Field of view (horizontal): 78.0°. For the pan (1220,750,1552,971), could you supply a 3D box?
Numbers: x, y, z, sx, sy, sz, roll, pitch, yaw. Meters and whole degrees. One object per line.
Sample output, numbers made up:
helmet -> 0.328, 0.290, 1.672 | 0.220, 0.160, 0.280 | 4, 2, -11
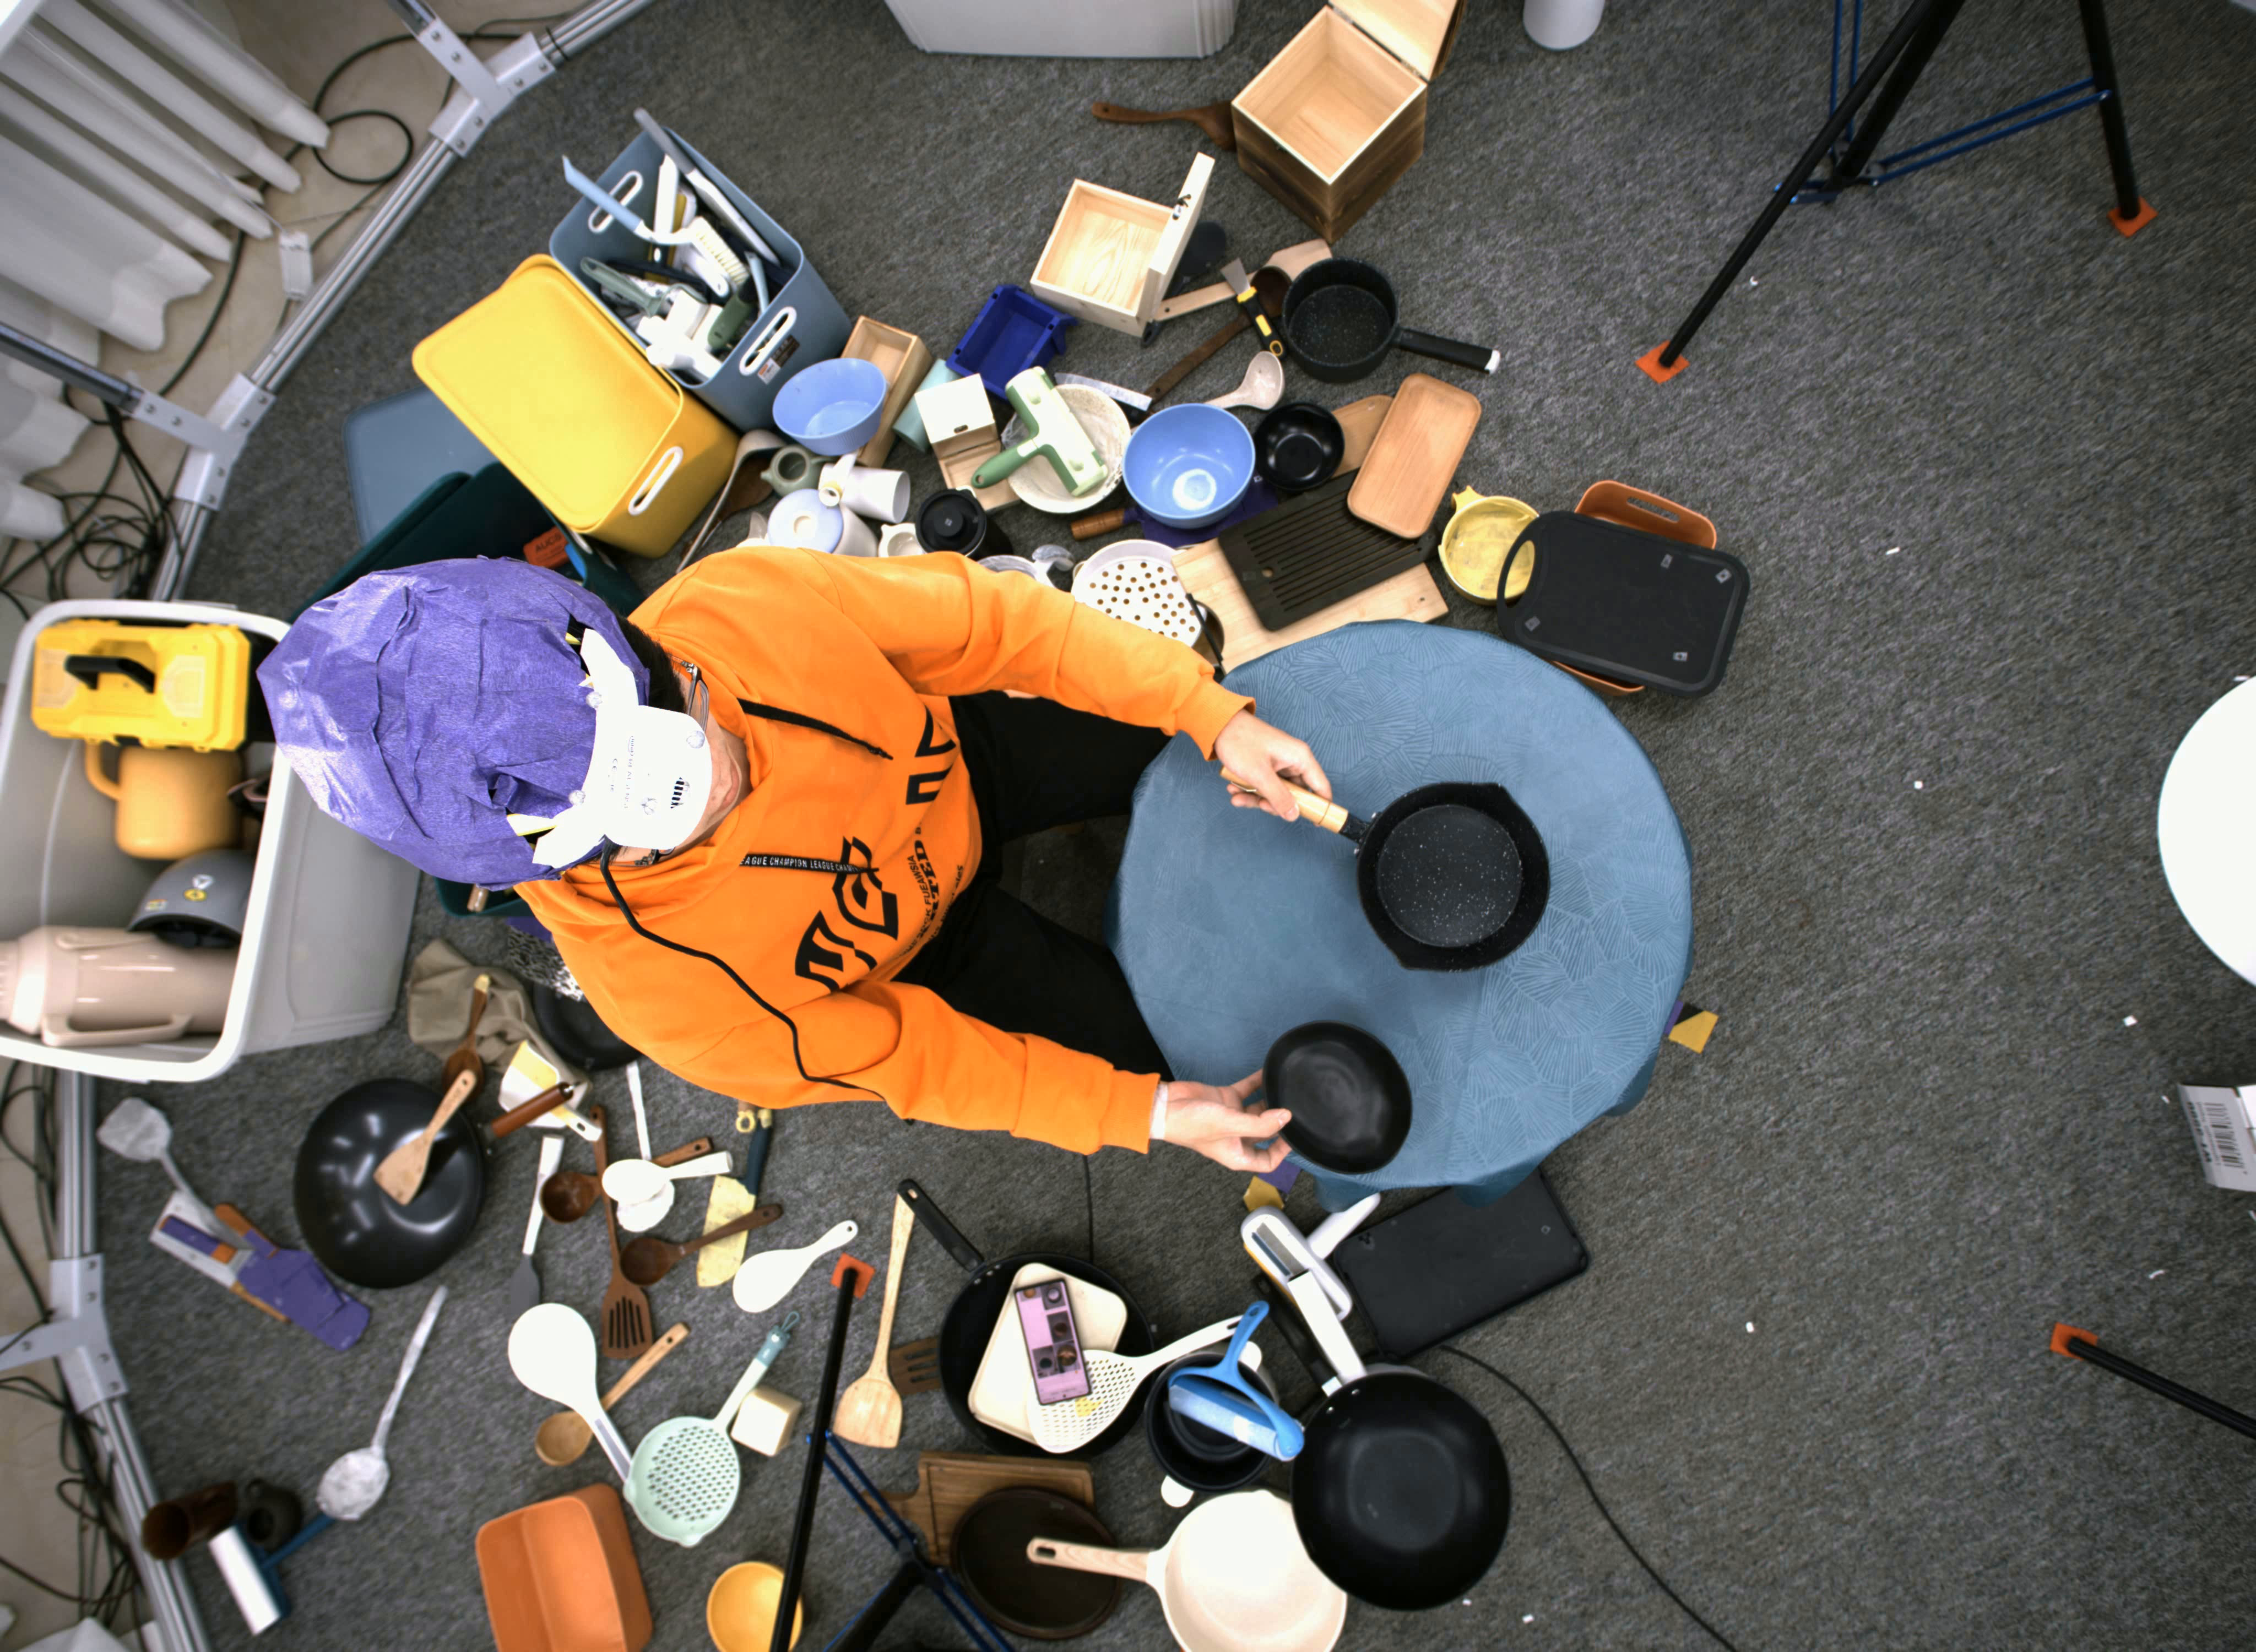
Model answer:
pan -> 0.248, 0.013, 1.369 | 0.342, 0.108, 0.208 | 26, 96, 8

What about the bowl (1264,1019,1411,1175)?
bowl -> 0.206, 0.267, 1.391 | 0.137, 0.067, 0.171 | -45, 96, -4
